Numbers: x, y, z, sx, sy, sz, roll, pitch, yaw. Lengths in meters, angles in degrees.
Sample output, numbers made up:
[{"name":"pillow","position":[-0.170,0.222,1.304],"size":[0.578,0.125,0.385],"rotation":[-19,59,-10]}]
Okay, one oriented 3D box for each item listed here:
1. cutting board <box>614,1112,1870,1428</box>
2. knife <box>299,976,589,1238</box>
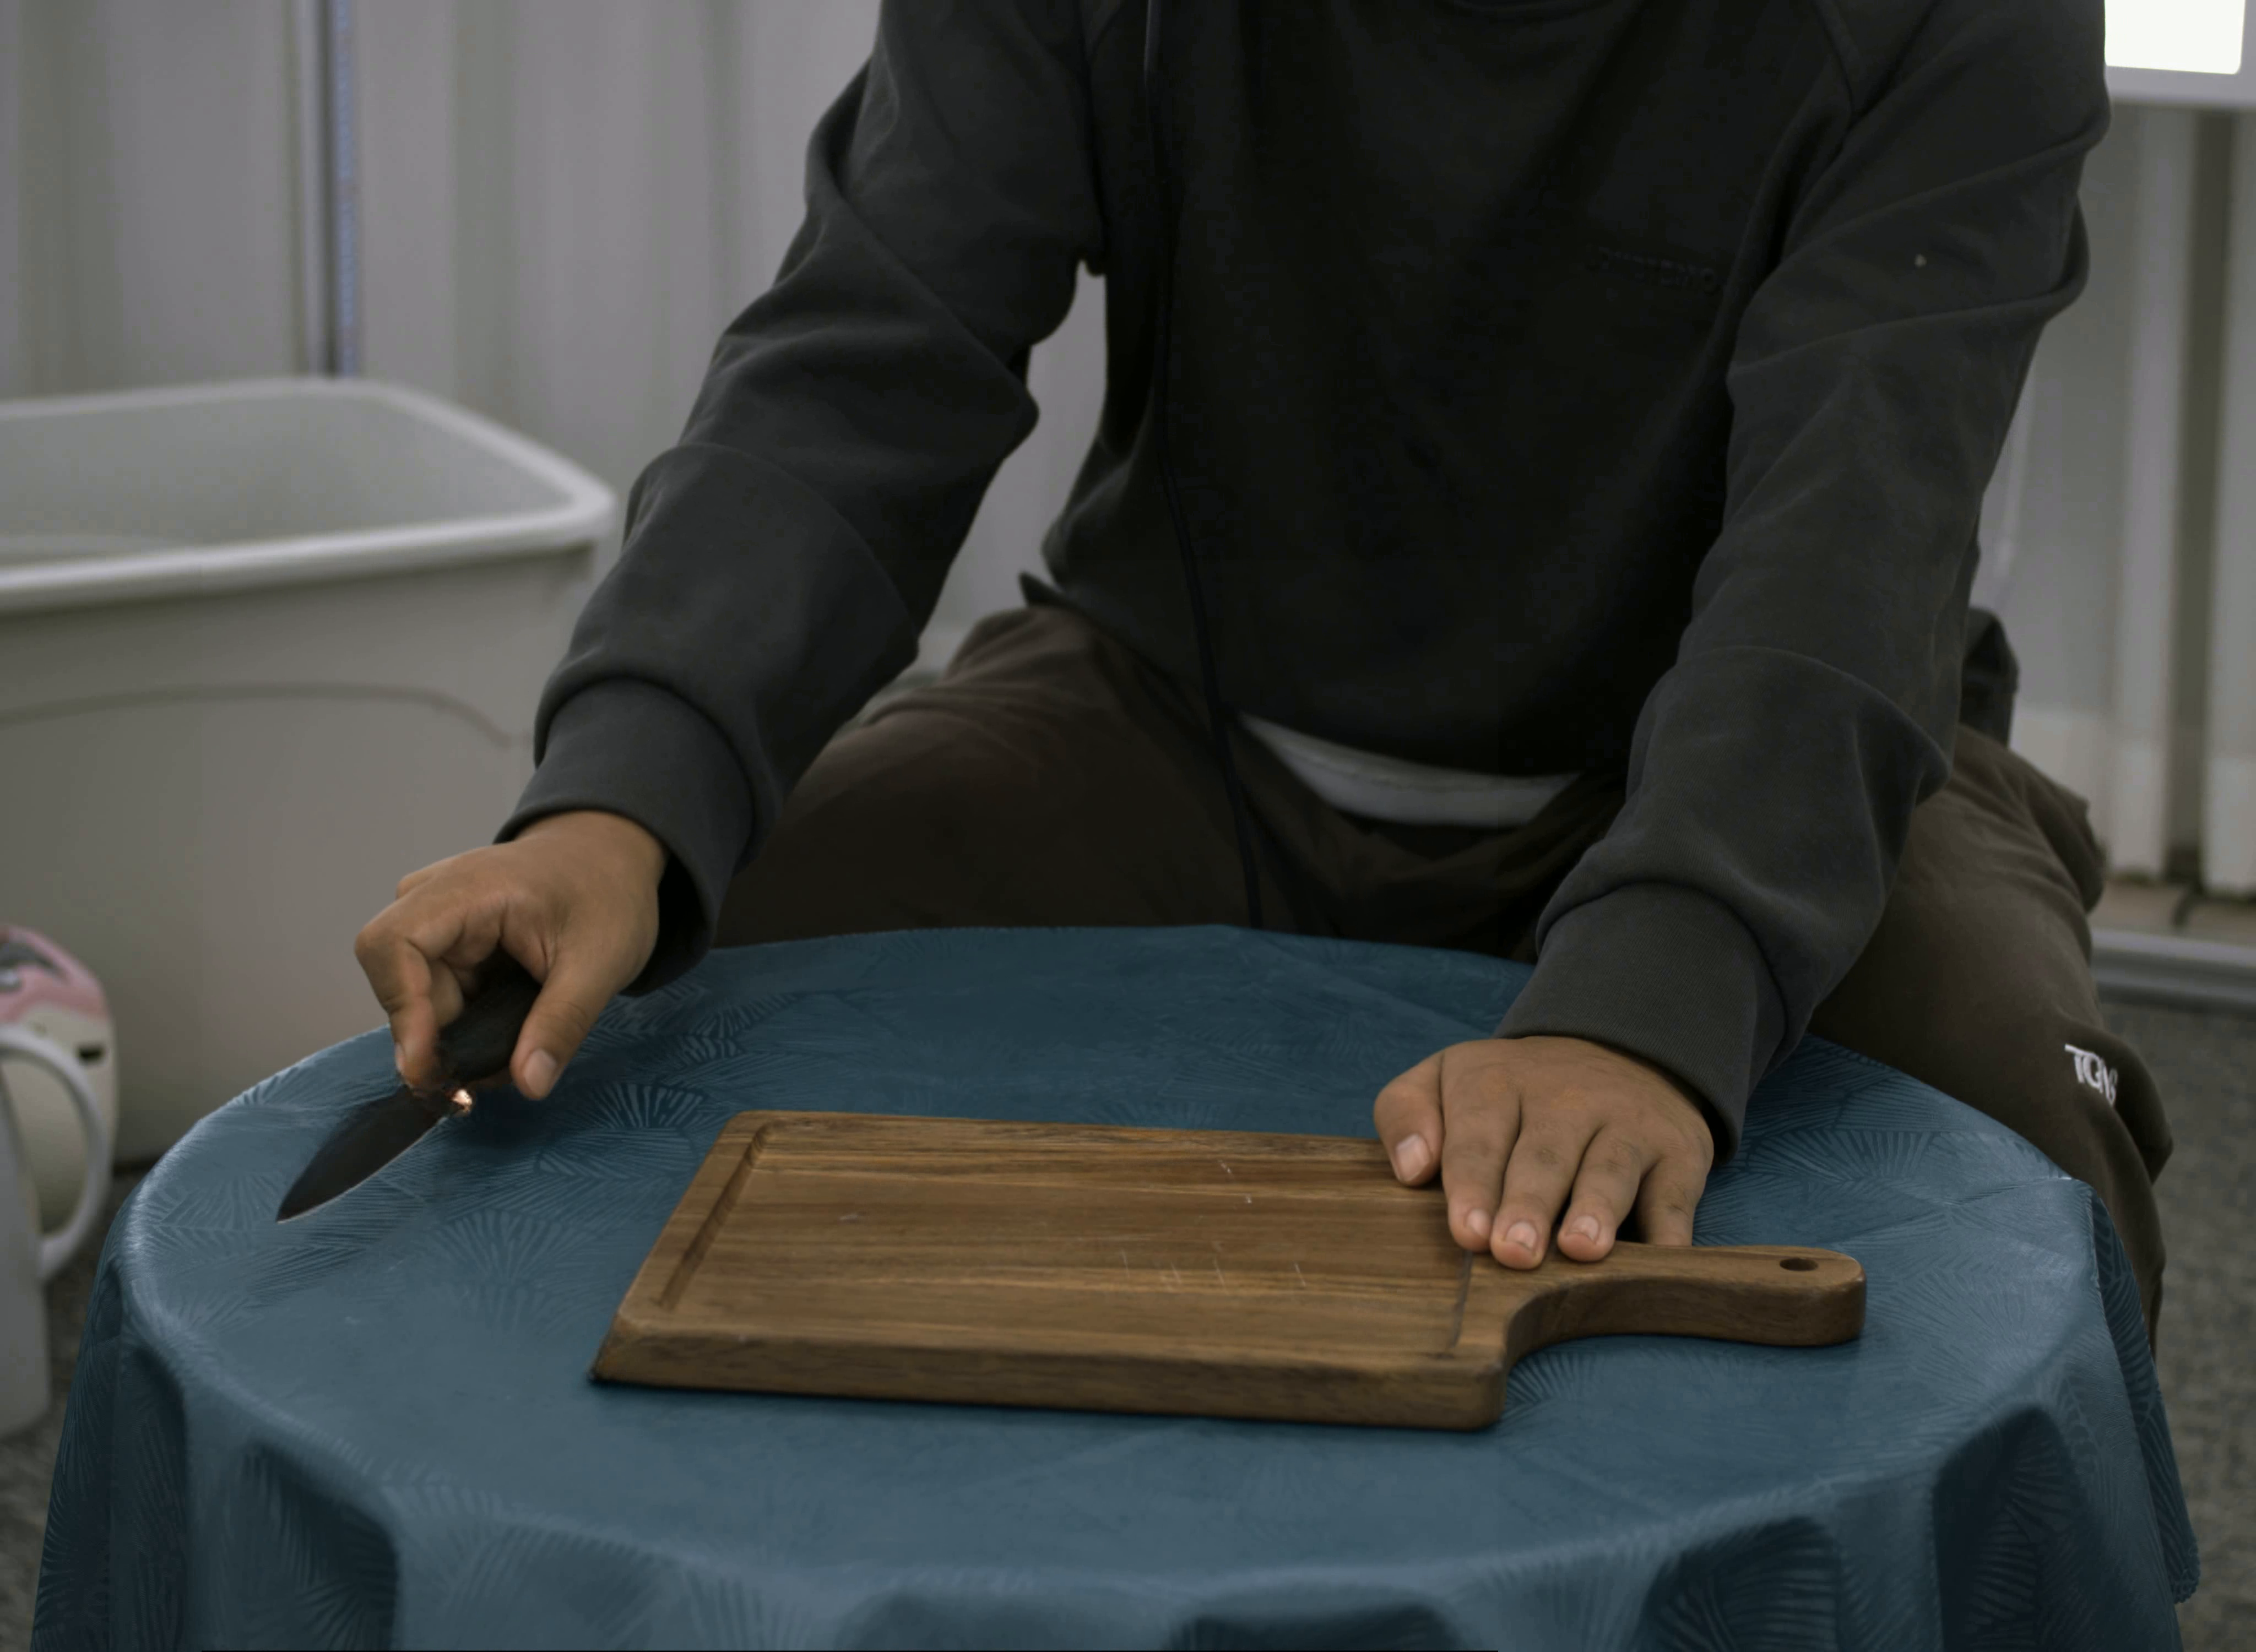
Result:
[{"name":"cutting board","position":[0.039,0.128,1.532],"size":[0.350,0.023,0.200],"rotation":[2,15,5]},{"name":"knife","position":[-0.212,0.084,1.613],"size":[0.026,0.017,0.225],"rotation":[25,21,8]}]
